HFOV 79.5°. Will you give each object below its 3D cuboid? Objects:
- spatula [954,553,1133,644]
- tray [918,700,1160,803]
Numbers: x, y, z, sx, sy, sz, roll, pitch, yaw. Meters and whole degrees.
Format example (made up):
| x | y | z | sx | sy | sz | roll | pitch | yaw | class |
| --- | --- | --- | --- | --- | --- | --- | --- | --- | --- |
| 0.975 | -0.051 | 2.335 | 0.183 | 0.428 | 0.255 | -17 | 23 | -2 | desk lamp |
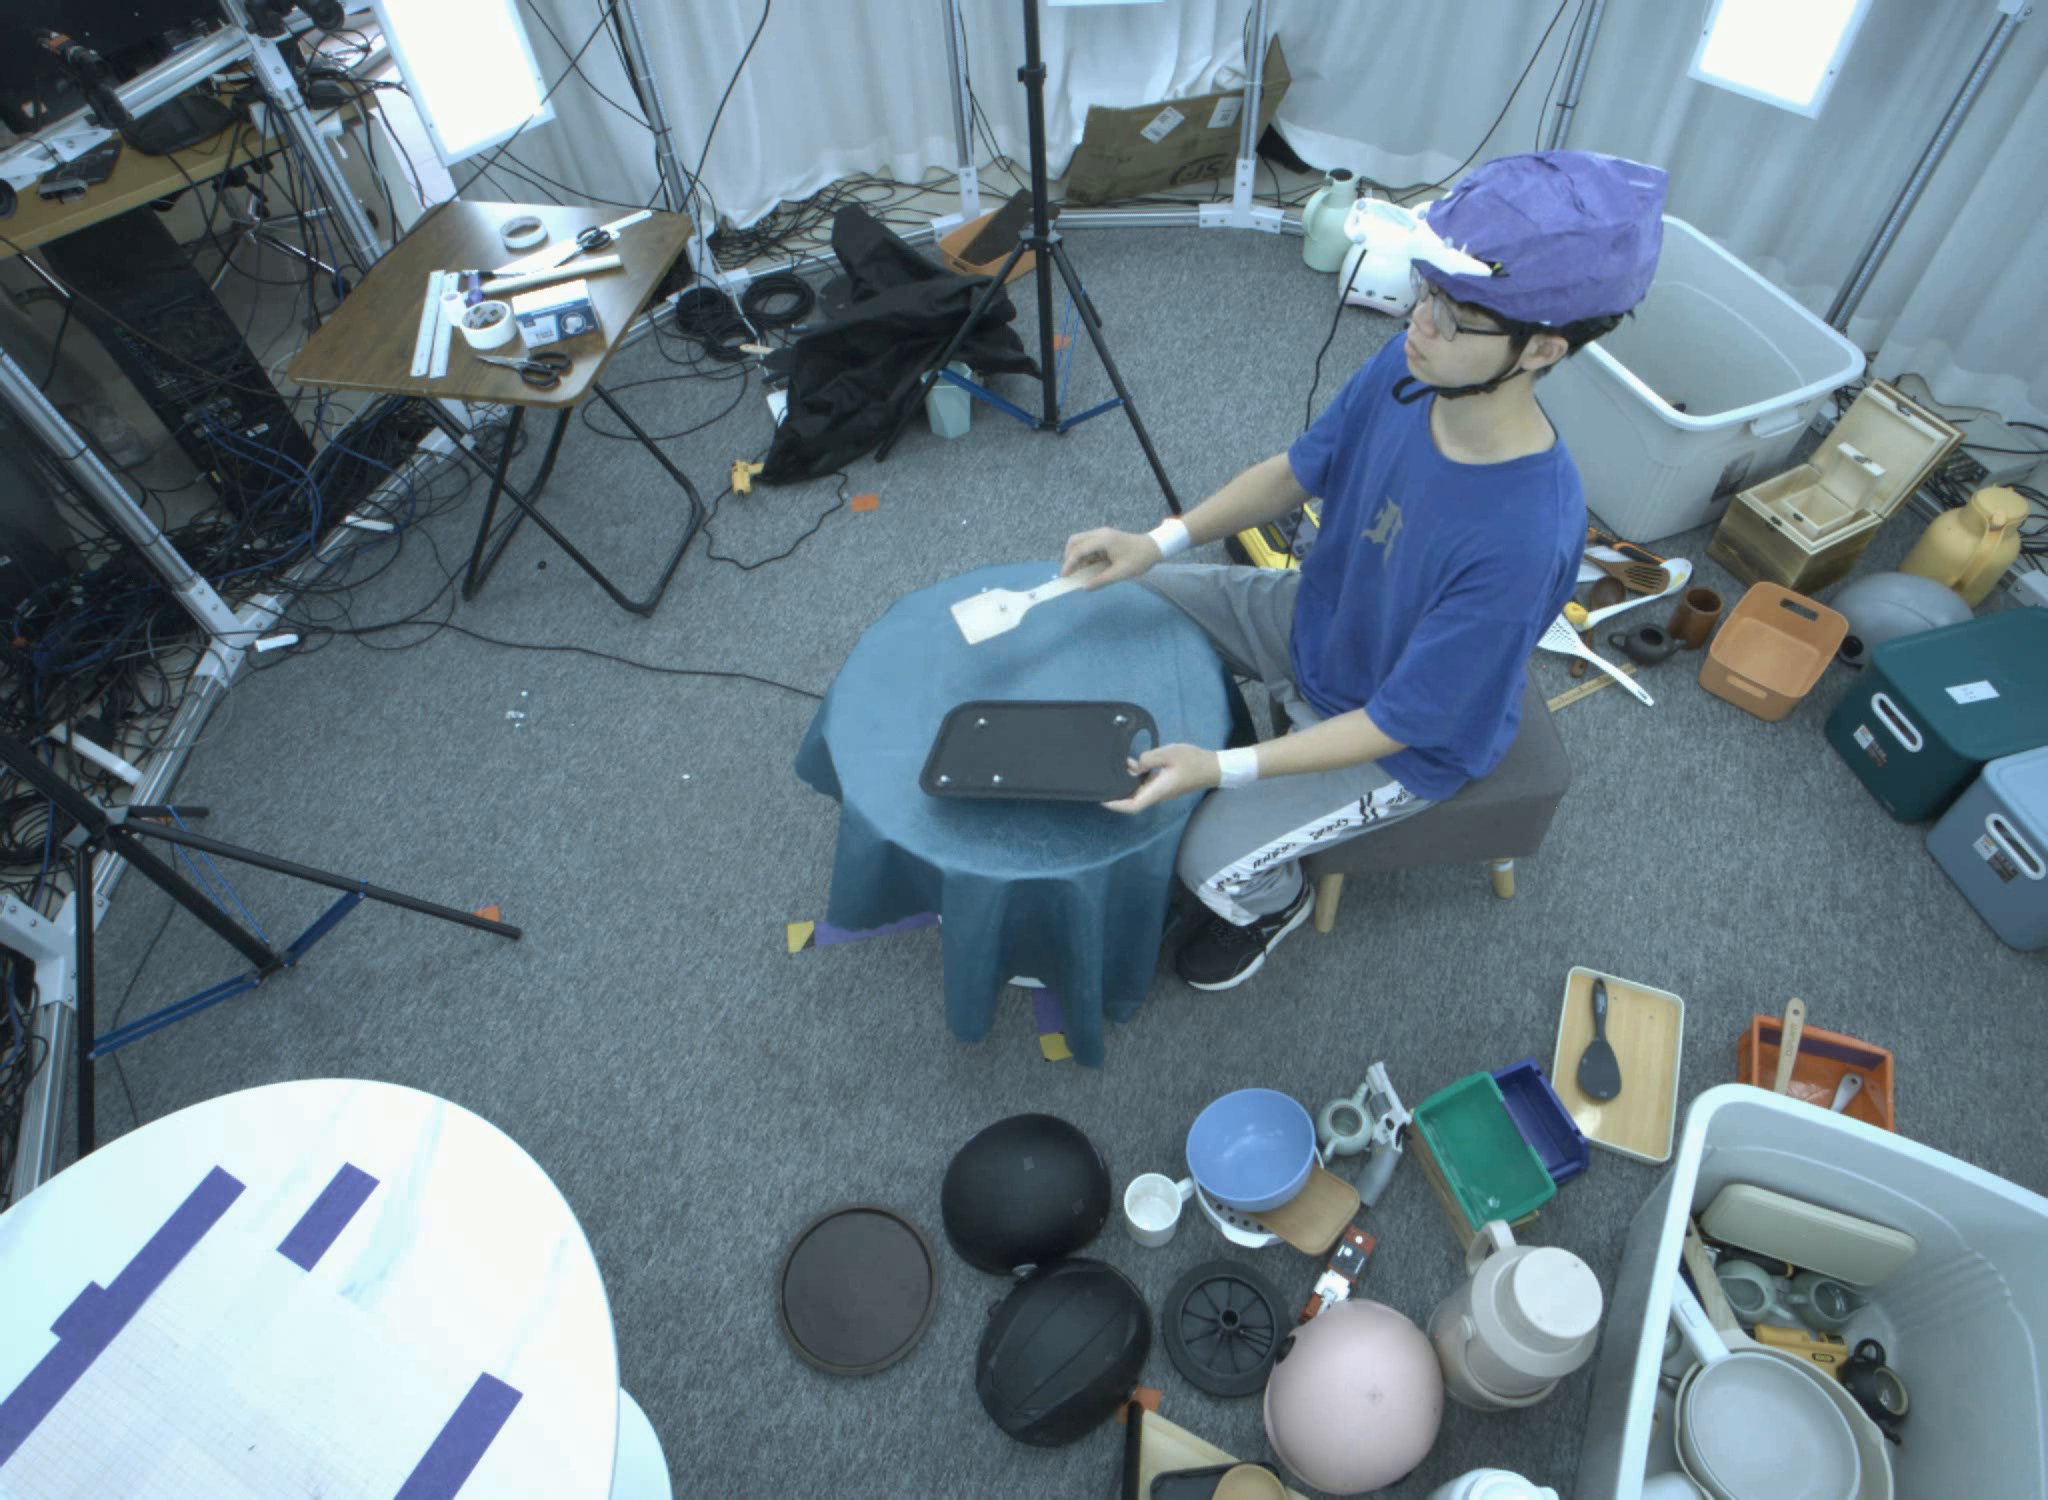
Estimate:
| x | y | z | sx | sy | sz | roll | pitch | yaw | class |
| --- | --- | --- | --- | --- | --- | --- | --- | --- | --- |
| 0.036 | -0.238 | 1.839 | 0.296 | 0.010 | 0.072 | -24 | 78 | -19 | spatula |
| 0.025 | -0.003 | 1.696 | 0.322 | 0.010 | 0.210 | 2 | 42 | 14 | tray |
